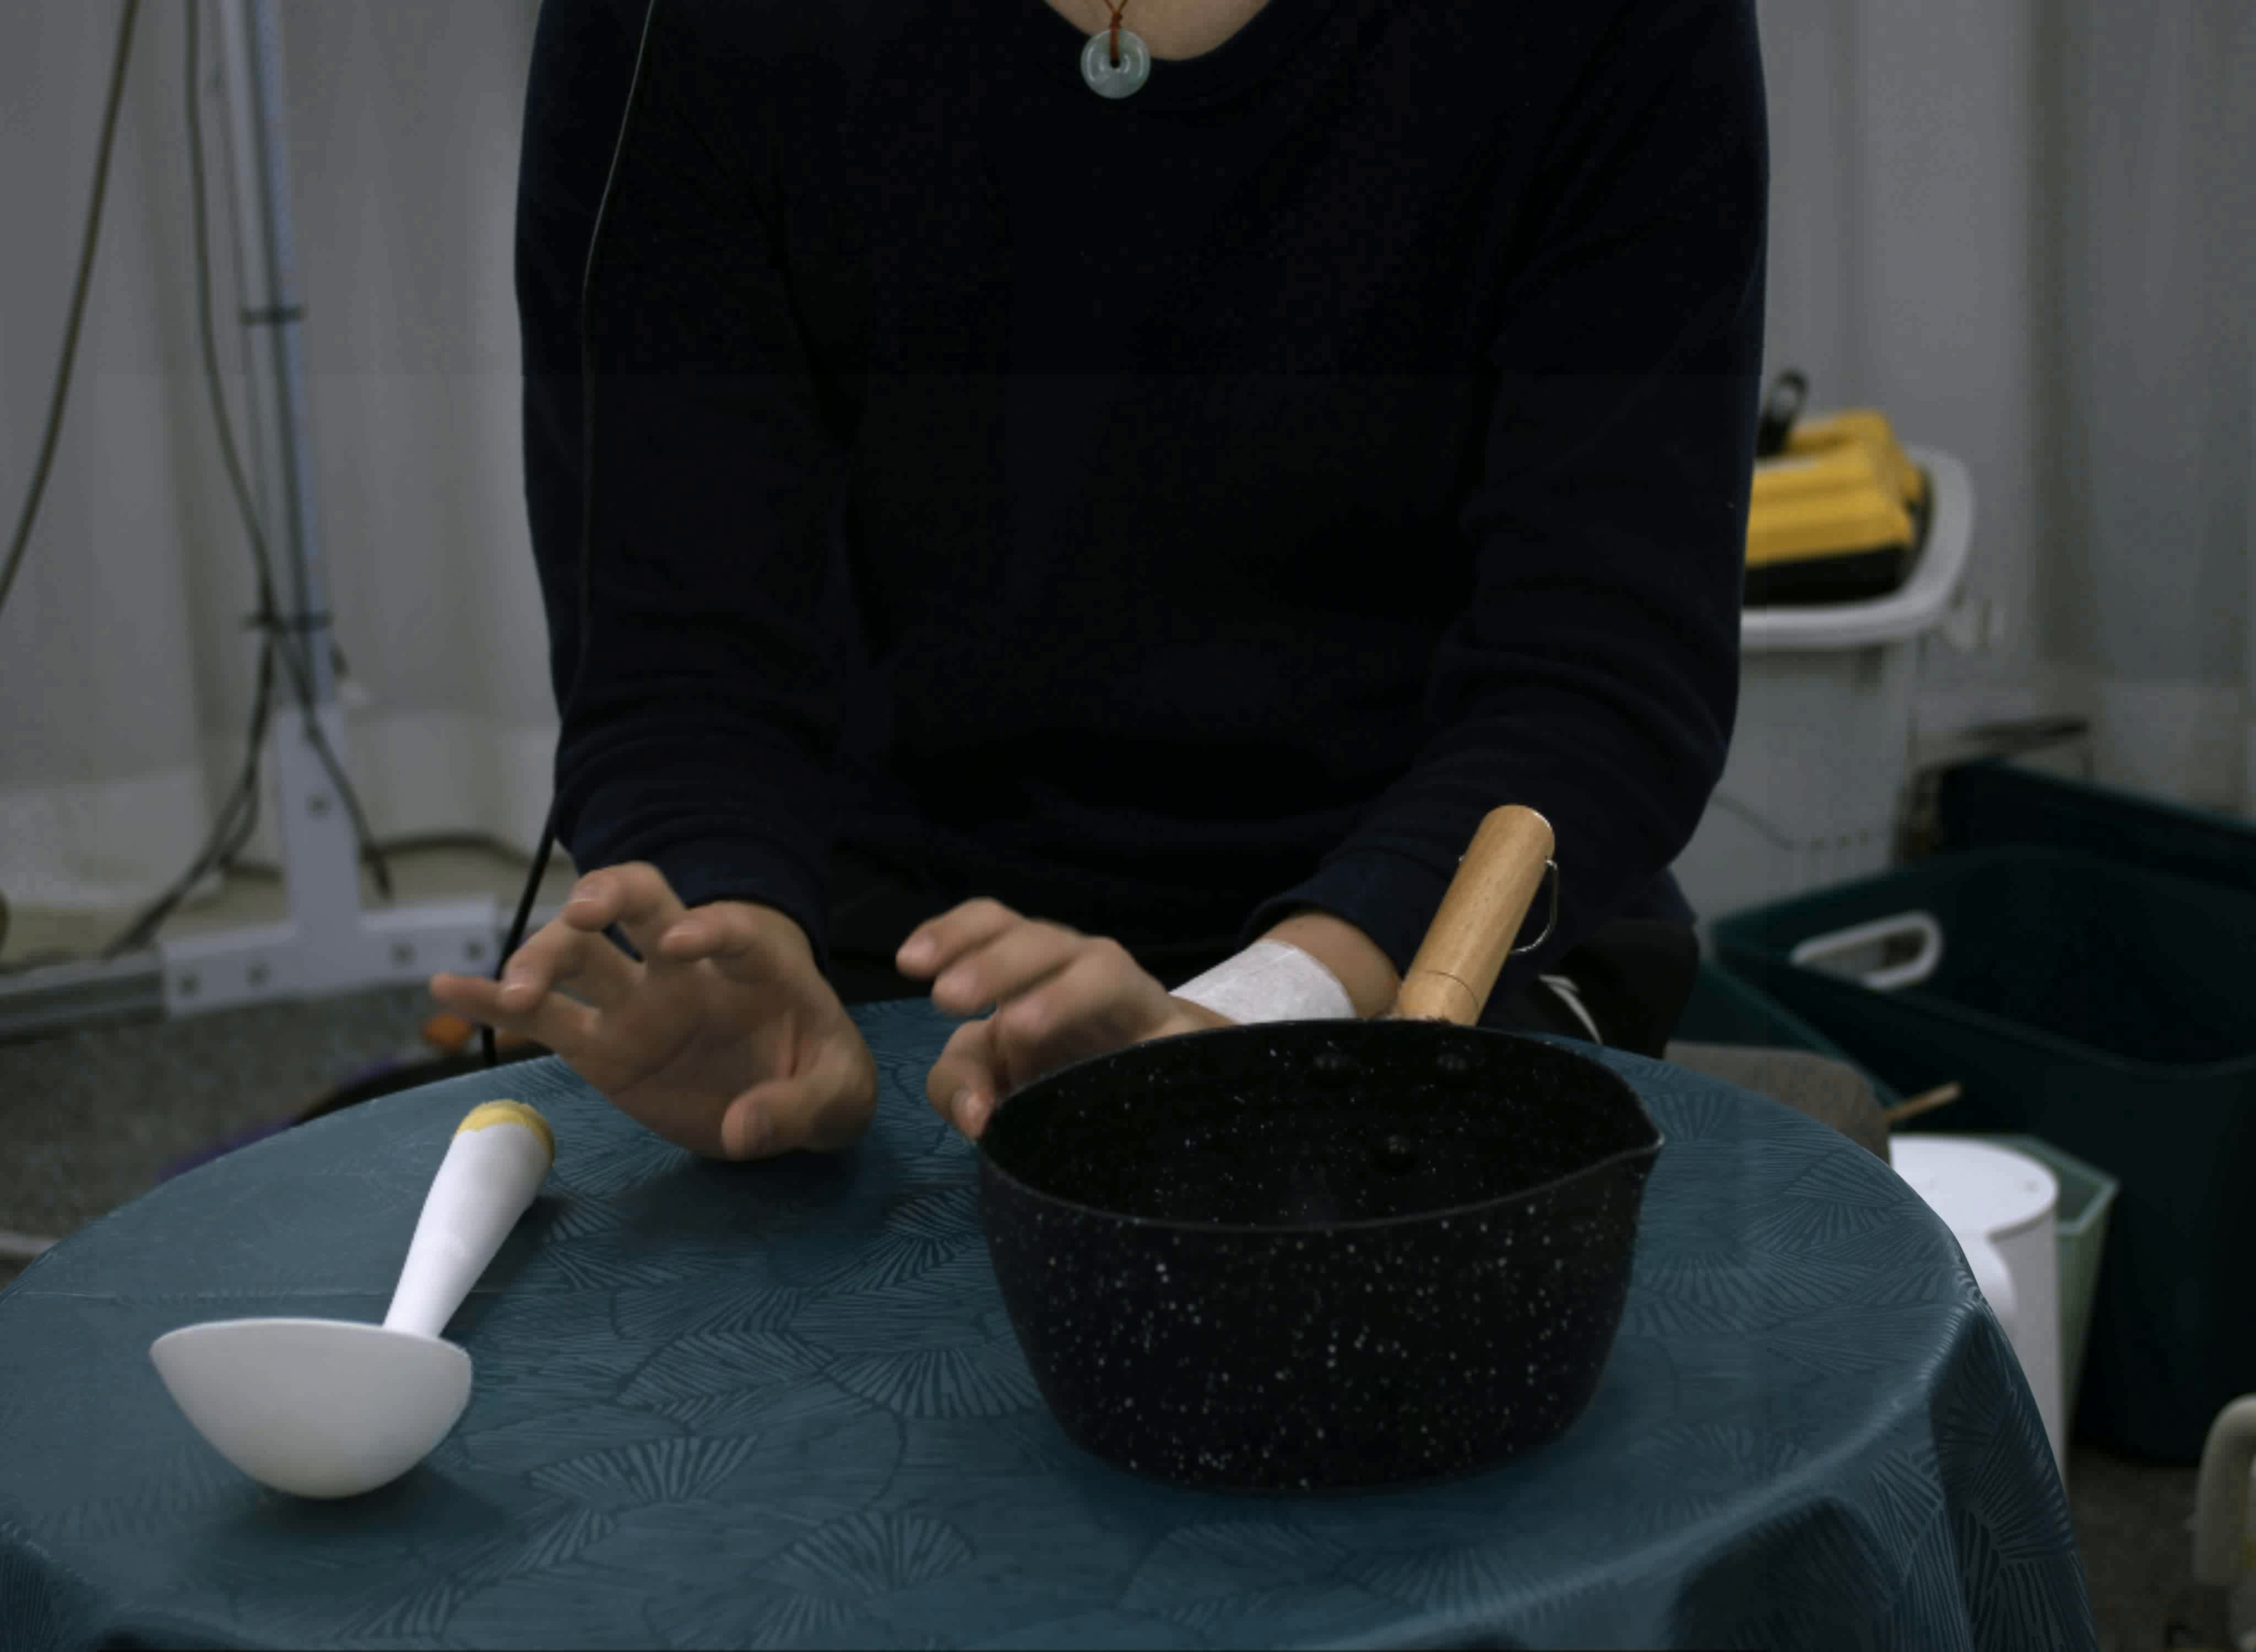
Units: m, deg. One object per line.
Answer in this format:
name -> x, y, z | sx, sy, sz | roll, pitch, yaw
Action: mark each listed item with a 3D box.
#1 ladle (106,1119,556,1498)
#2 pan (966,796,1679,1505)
ladle -> -0.217, 0.126, 1.596 | 0.090, 0.070, 0.294 | -8, 13, 9
pan -> 0.074, 0.089, 1.590 | 0.207, 0.108, 0.344 | 0, 16, 17
